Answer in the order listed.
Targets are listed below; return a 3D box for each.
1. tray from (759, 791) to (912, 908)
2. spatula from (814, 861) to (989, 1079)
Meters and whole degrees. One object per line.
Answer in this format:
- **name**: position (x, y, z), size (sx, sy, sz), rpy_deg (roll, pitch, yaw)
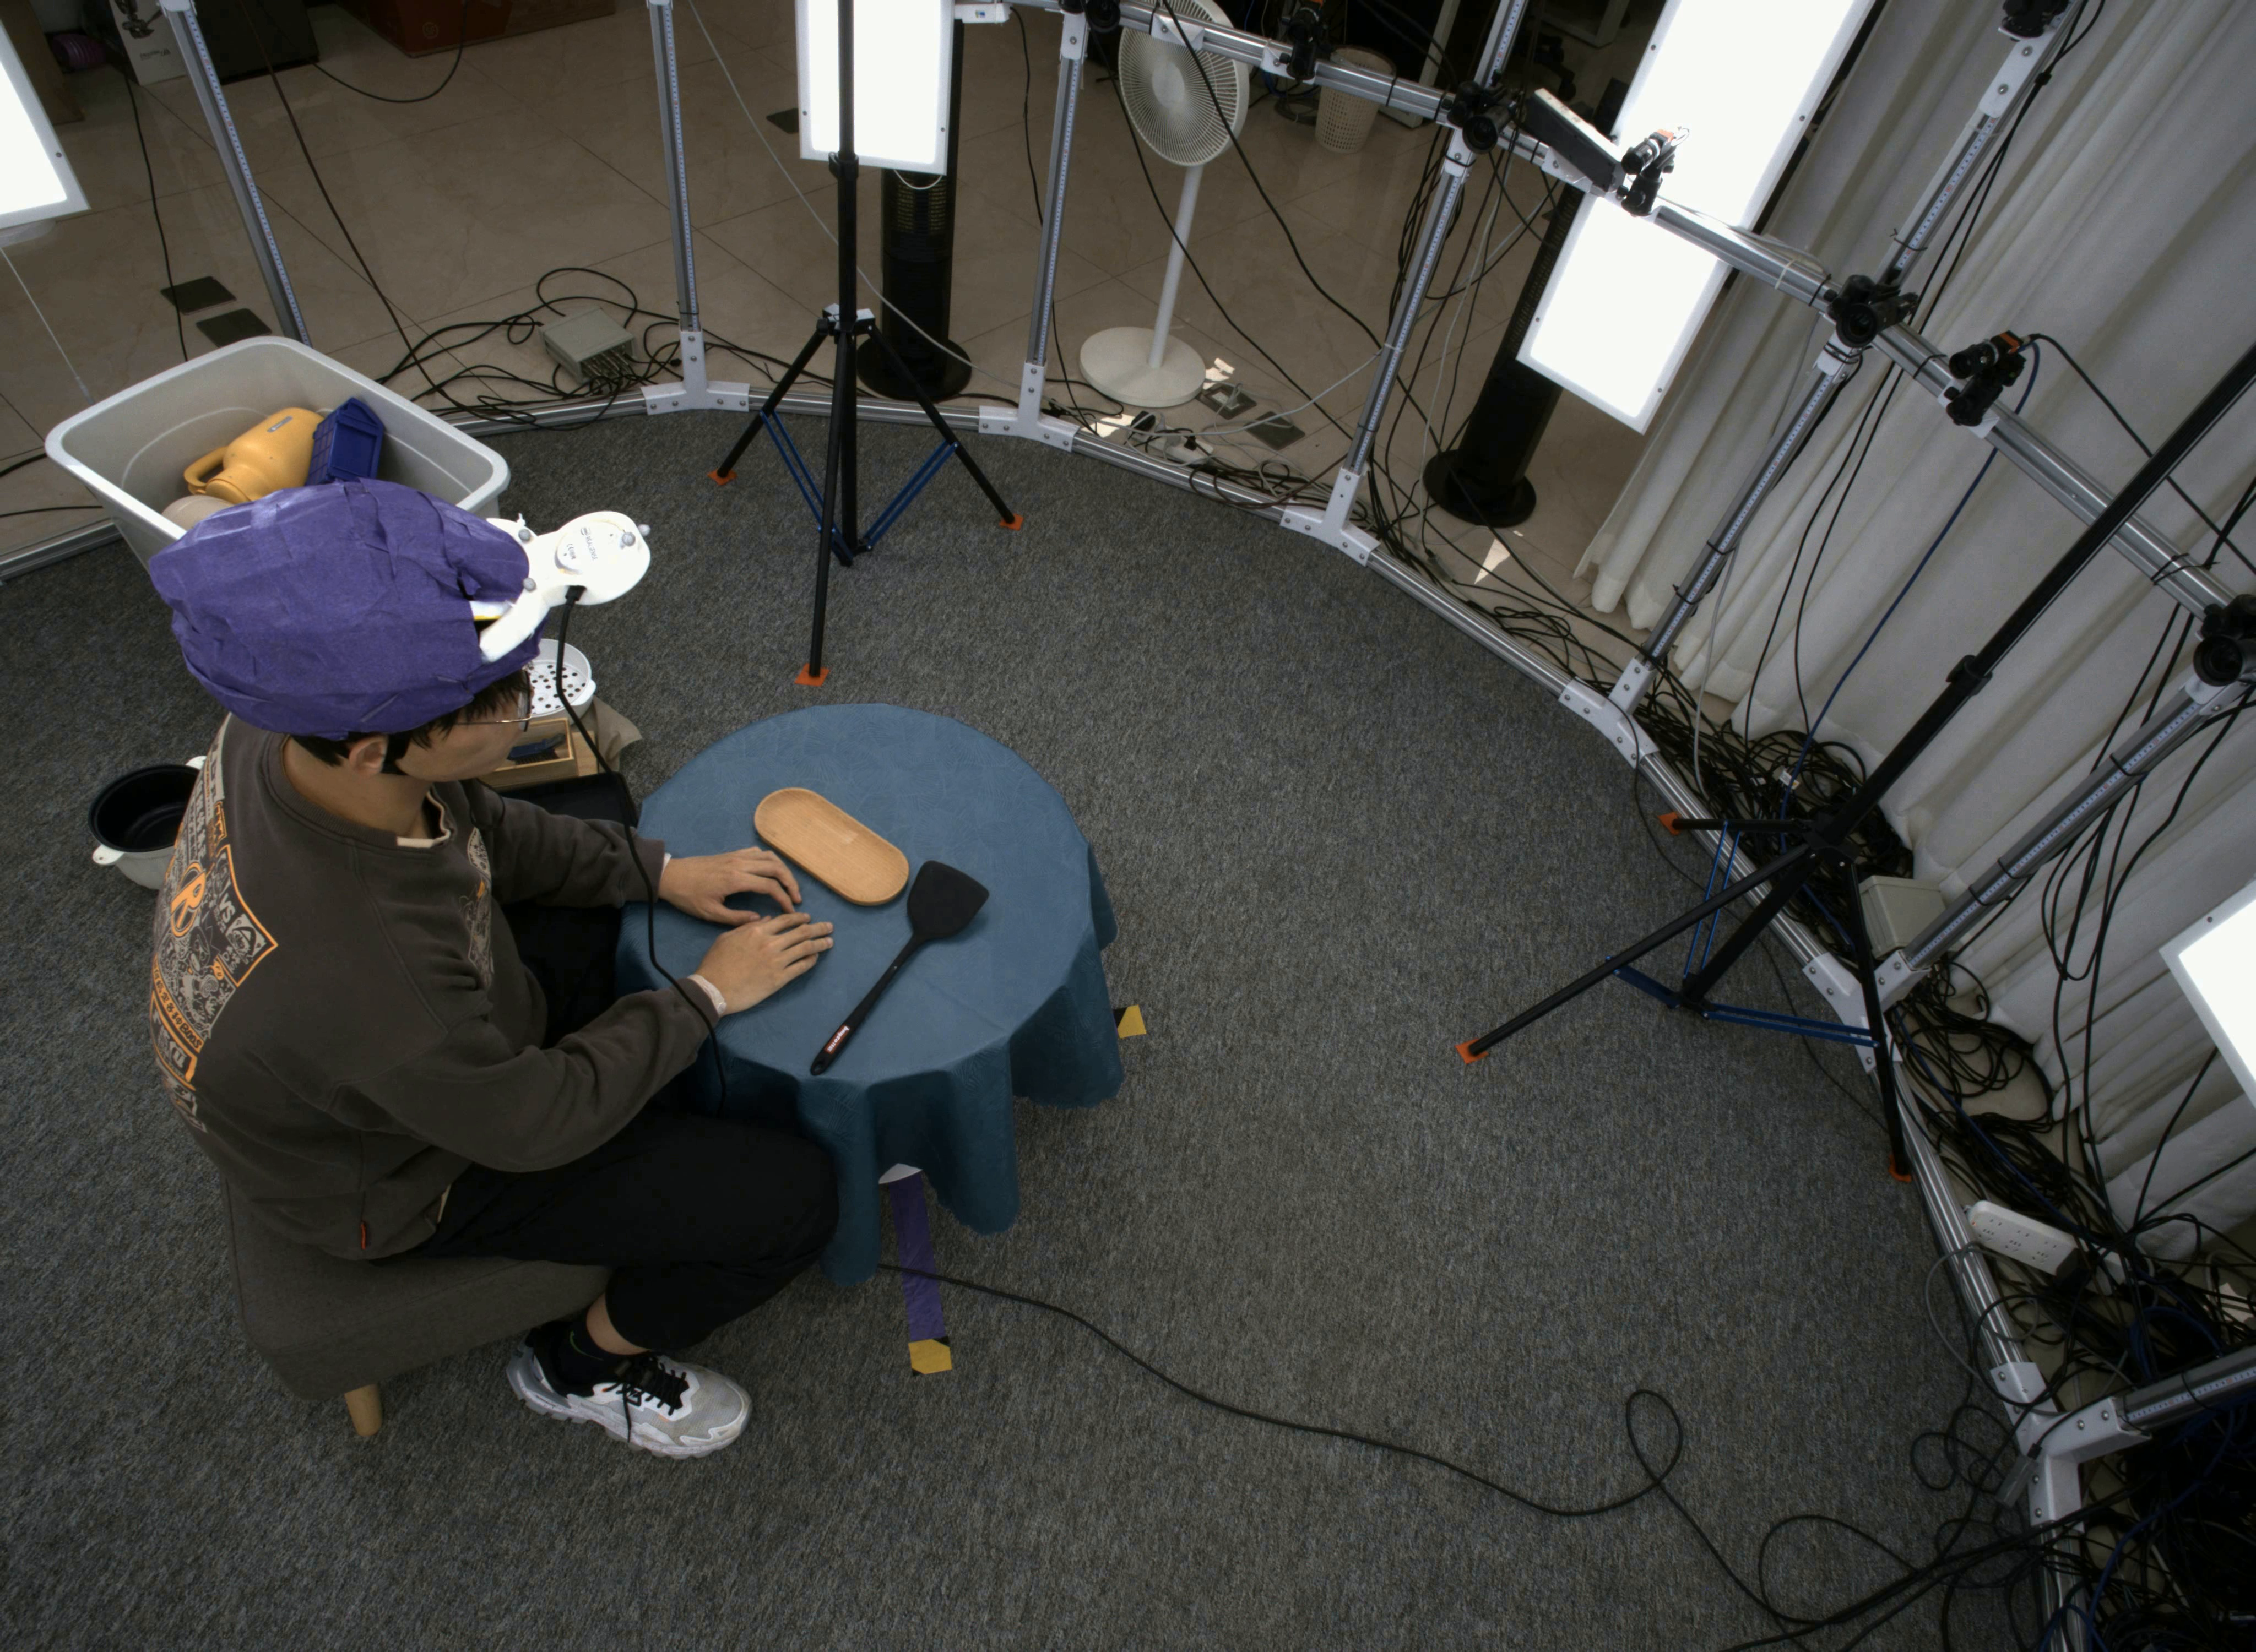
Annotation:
- **tray**: position (-0.388, 0.029, 1.716), size (0.227, 0.021, 0.101), rpy_deg (33, 54, 10)
- **spatula**: position (-0.293, 0.178, 1.616), size (0.098, 0.041, 0.324), rpy_deg (27, 53, 9)
